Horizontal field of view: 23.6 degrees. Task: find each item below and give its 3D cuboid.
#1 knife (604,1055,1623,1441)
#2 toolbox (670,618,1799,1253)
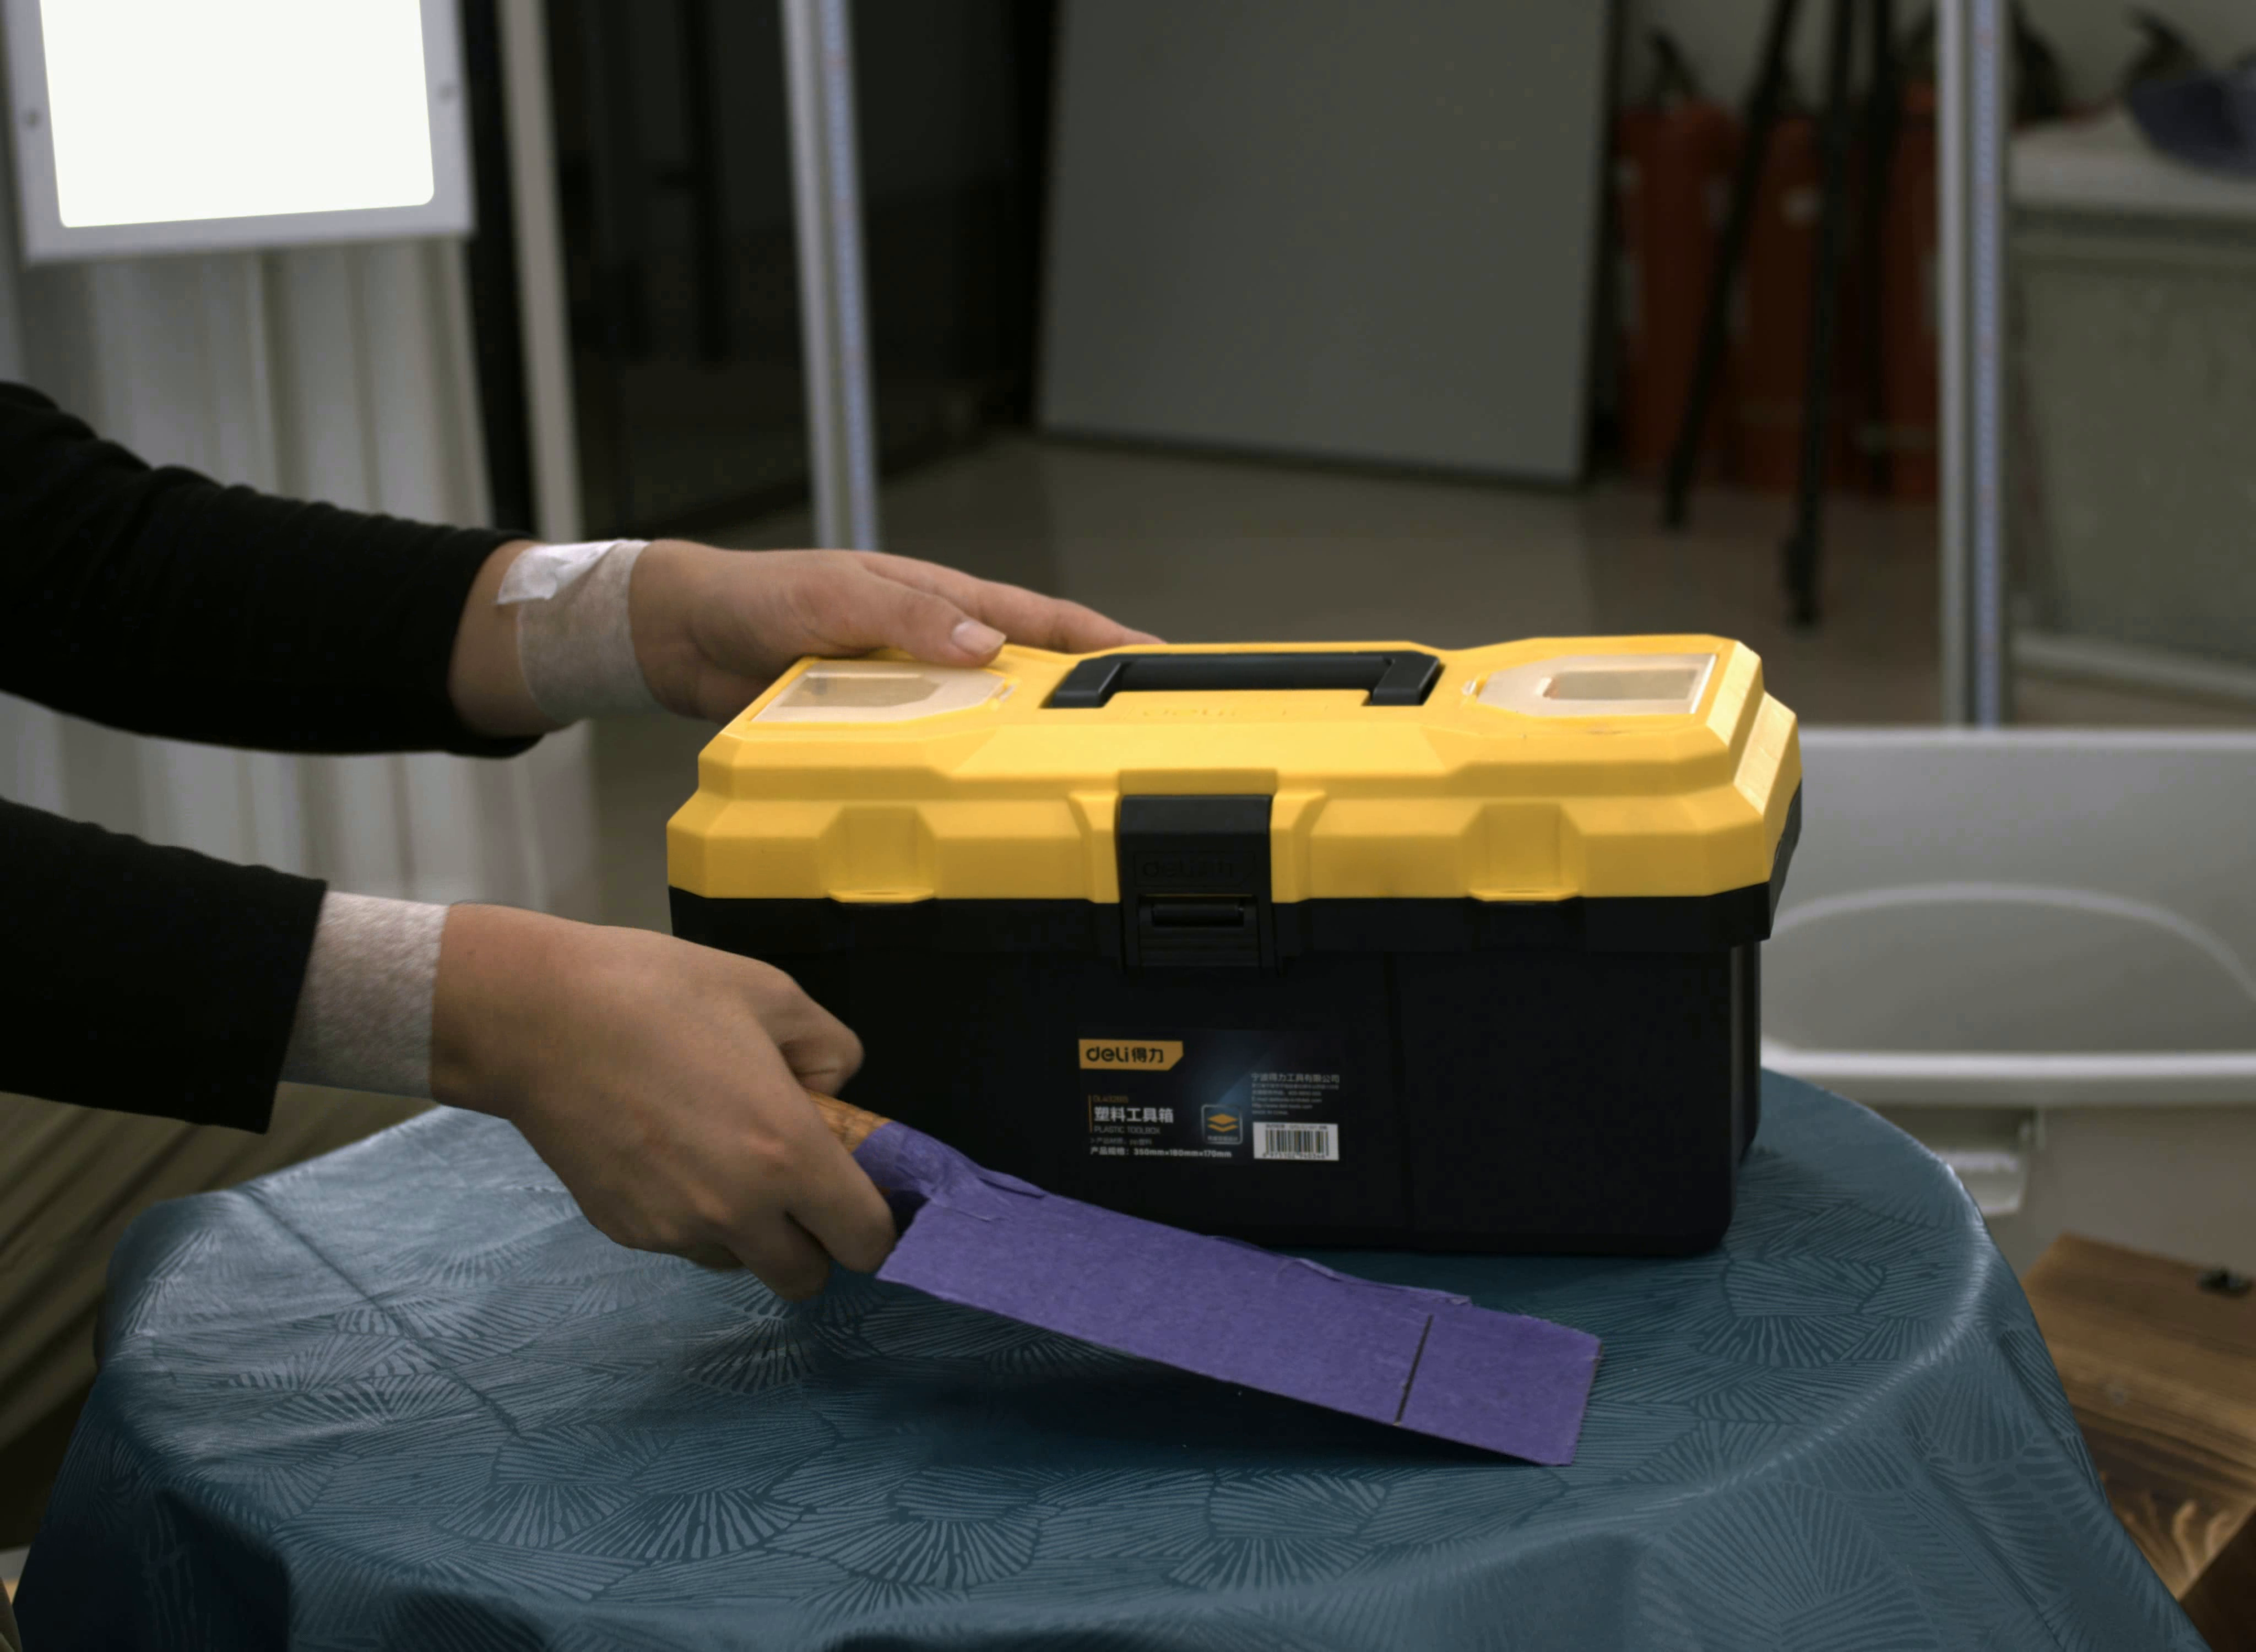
[{"bbox_3d":[-0.010,0.123,1.571,0.313,0.032,0.103,12,18,10],"label":"knife"},{"bbox_3d":[0.039,0.037,1.737,0.349,0.175,0.180,-1,13,14],"label":"toolbox"}]
